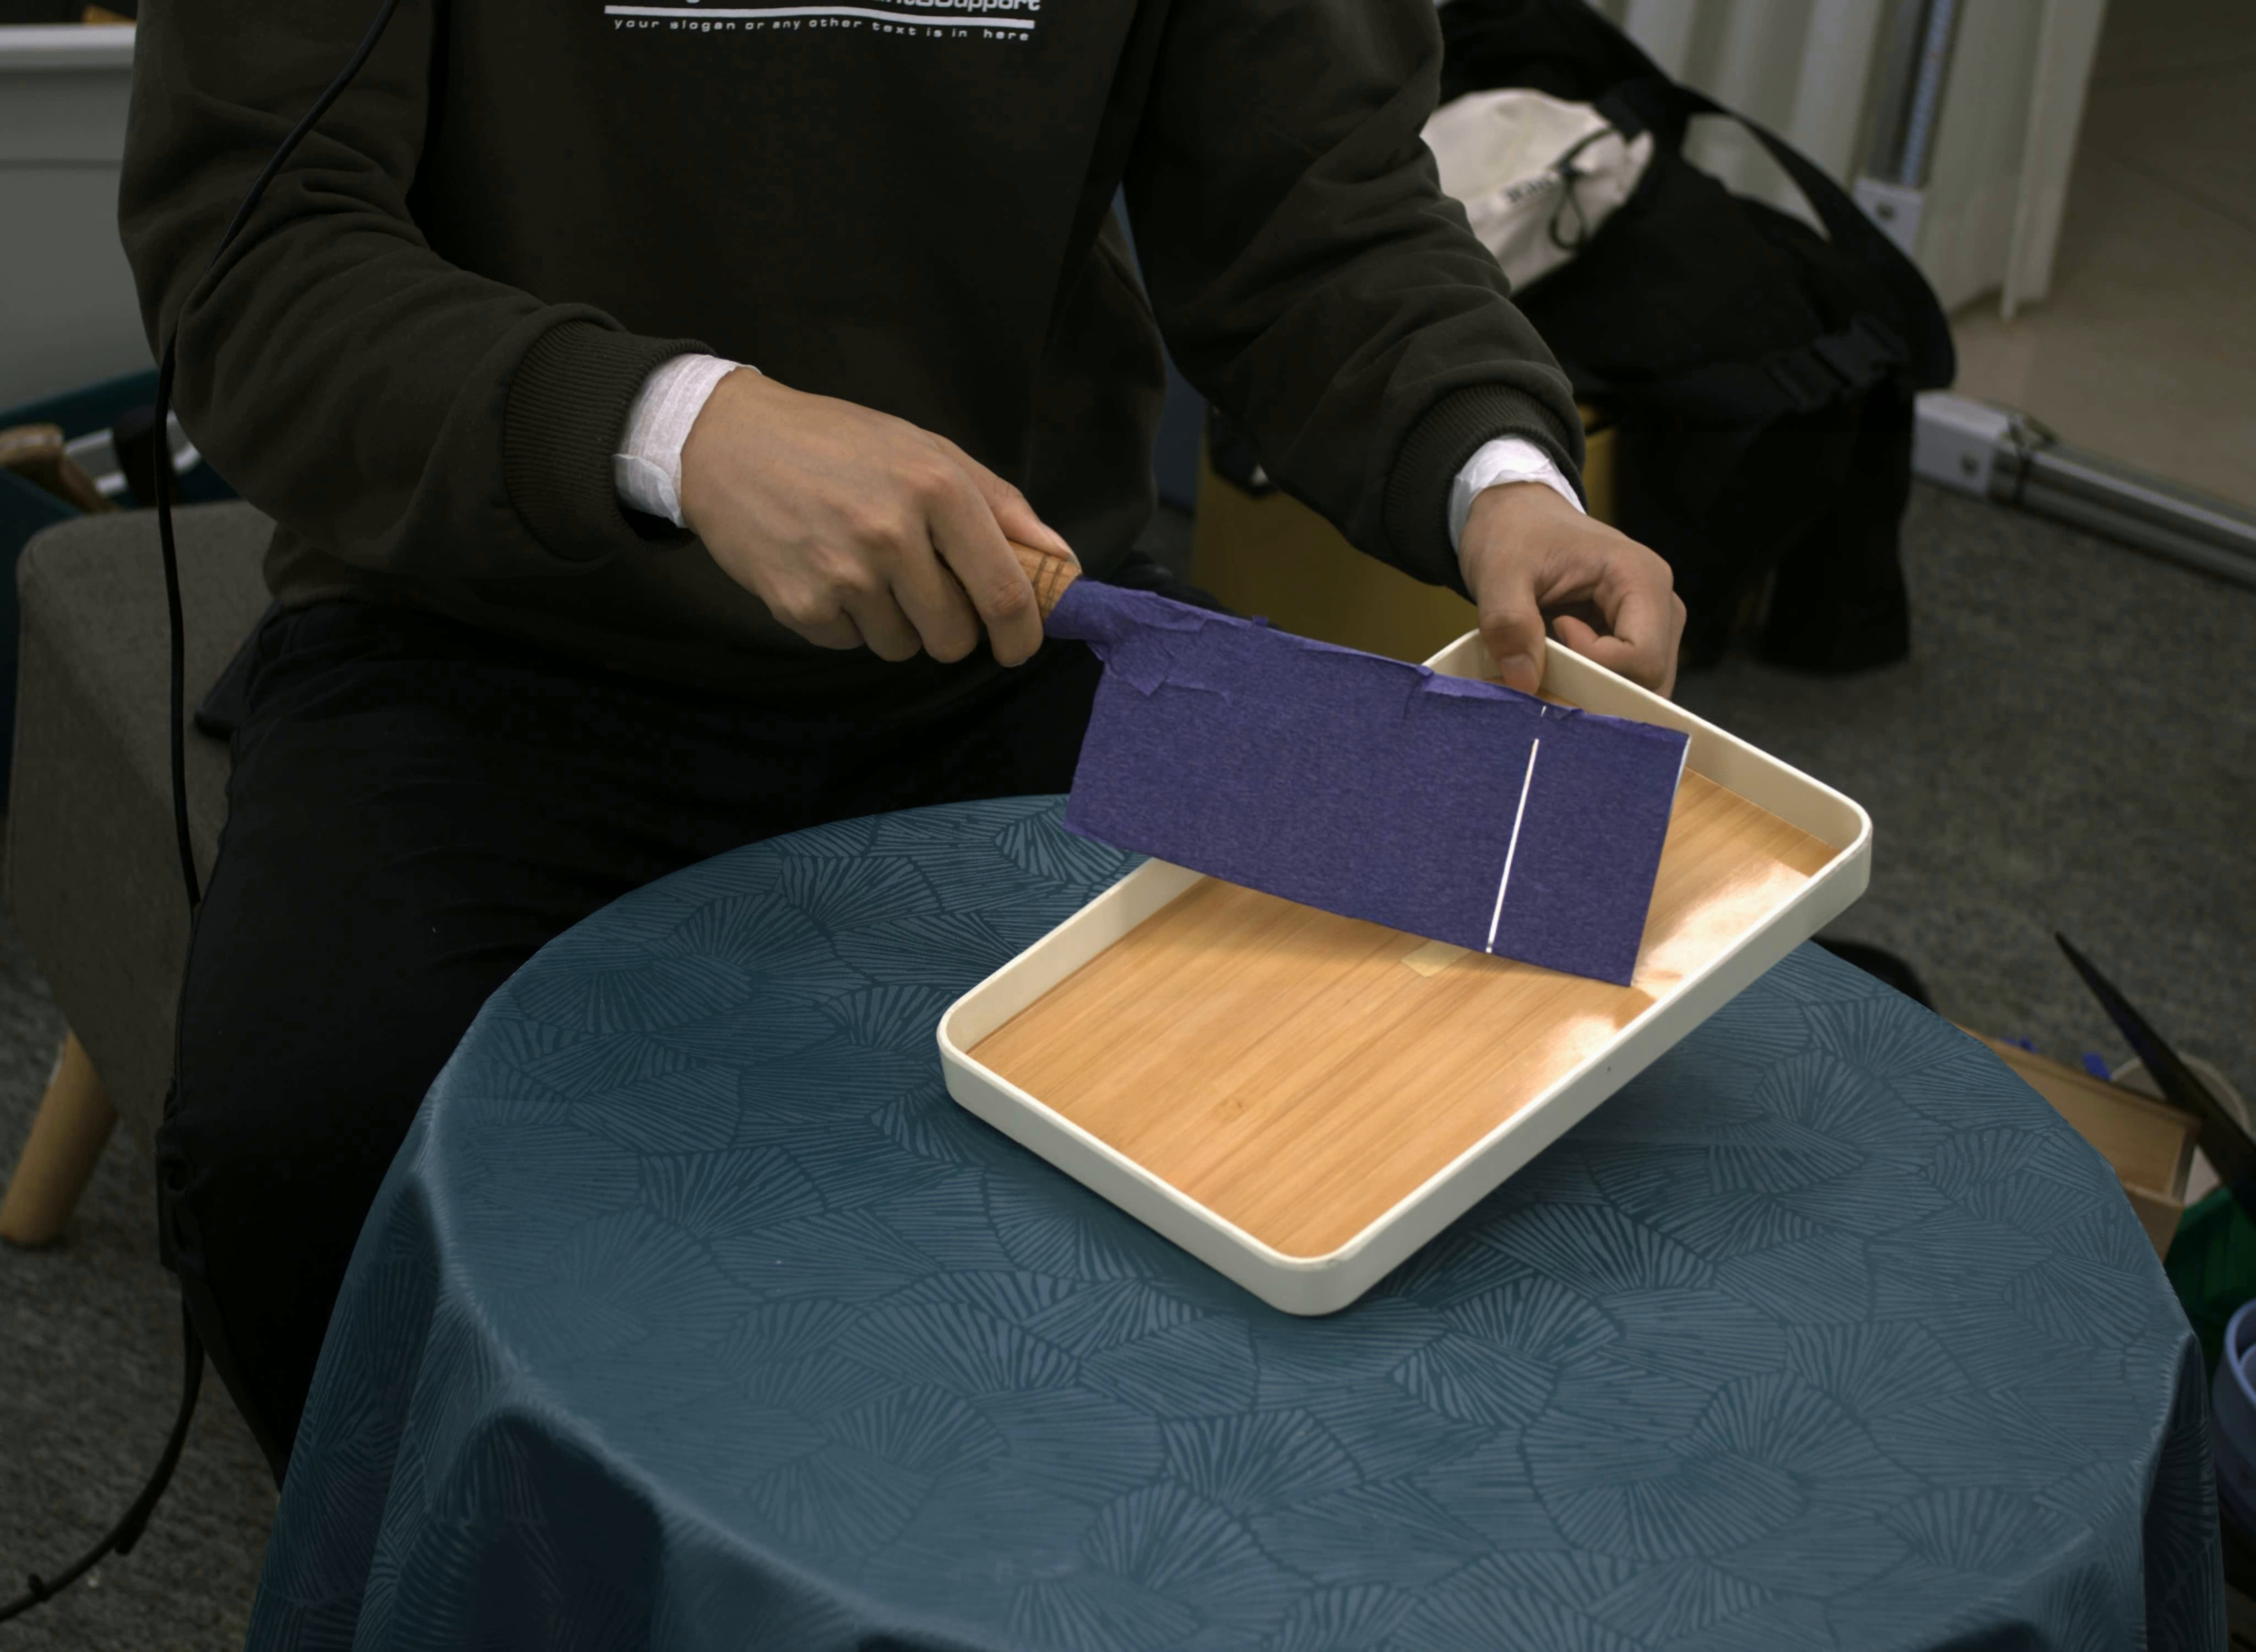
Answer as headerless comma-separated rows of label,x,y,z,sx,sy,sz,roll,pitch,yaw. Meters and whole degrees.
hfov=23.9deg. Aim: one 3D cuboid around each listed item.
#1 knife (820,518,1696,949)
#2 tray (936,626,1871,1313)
knife,0.036,-0.030,1.860,0.315,0.104,0.032,14,4,11
tray,0.098,0.043,1.859,0.300,0.027,0.193,-35,47,-29
